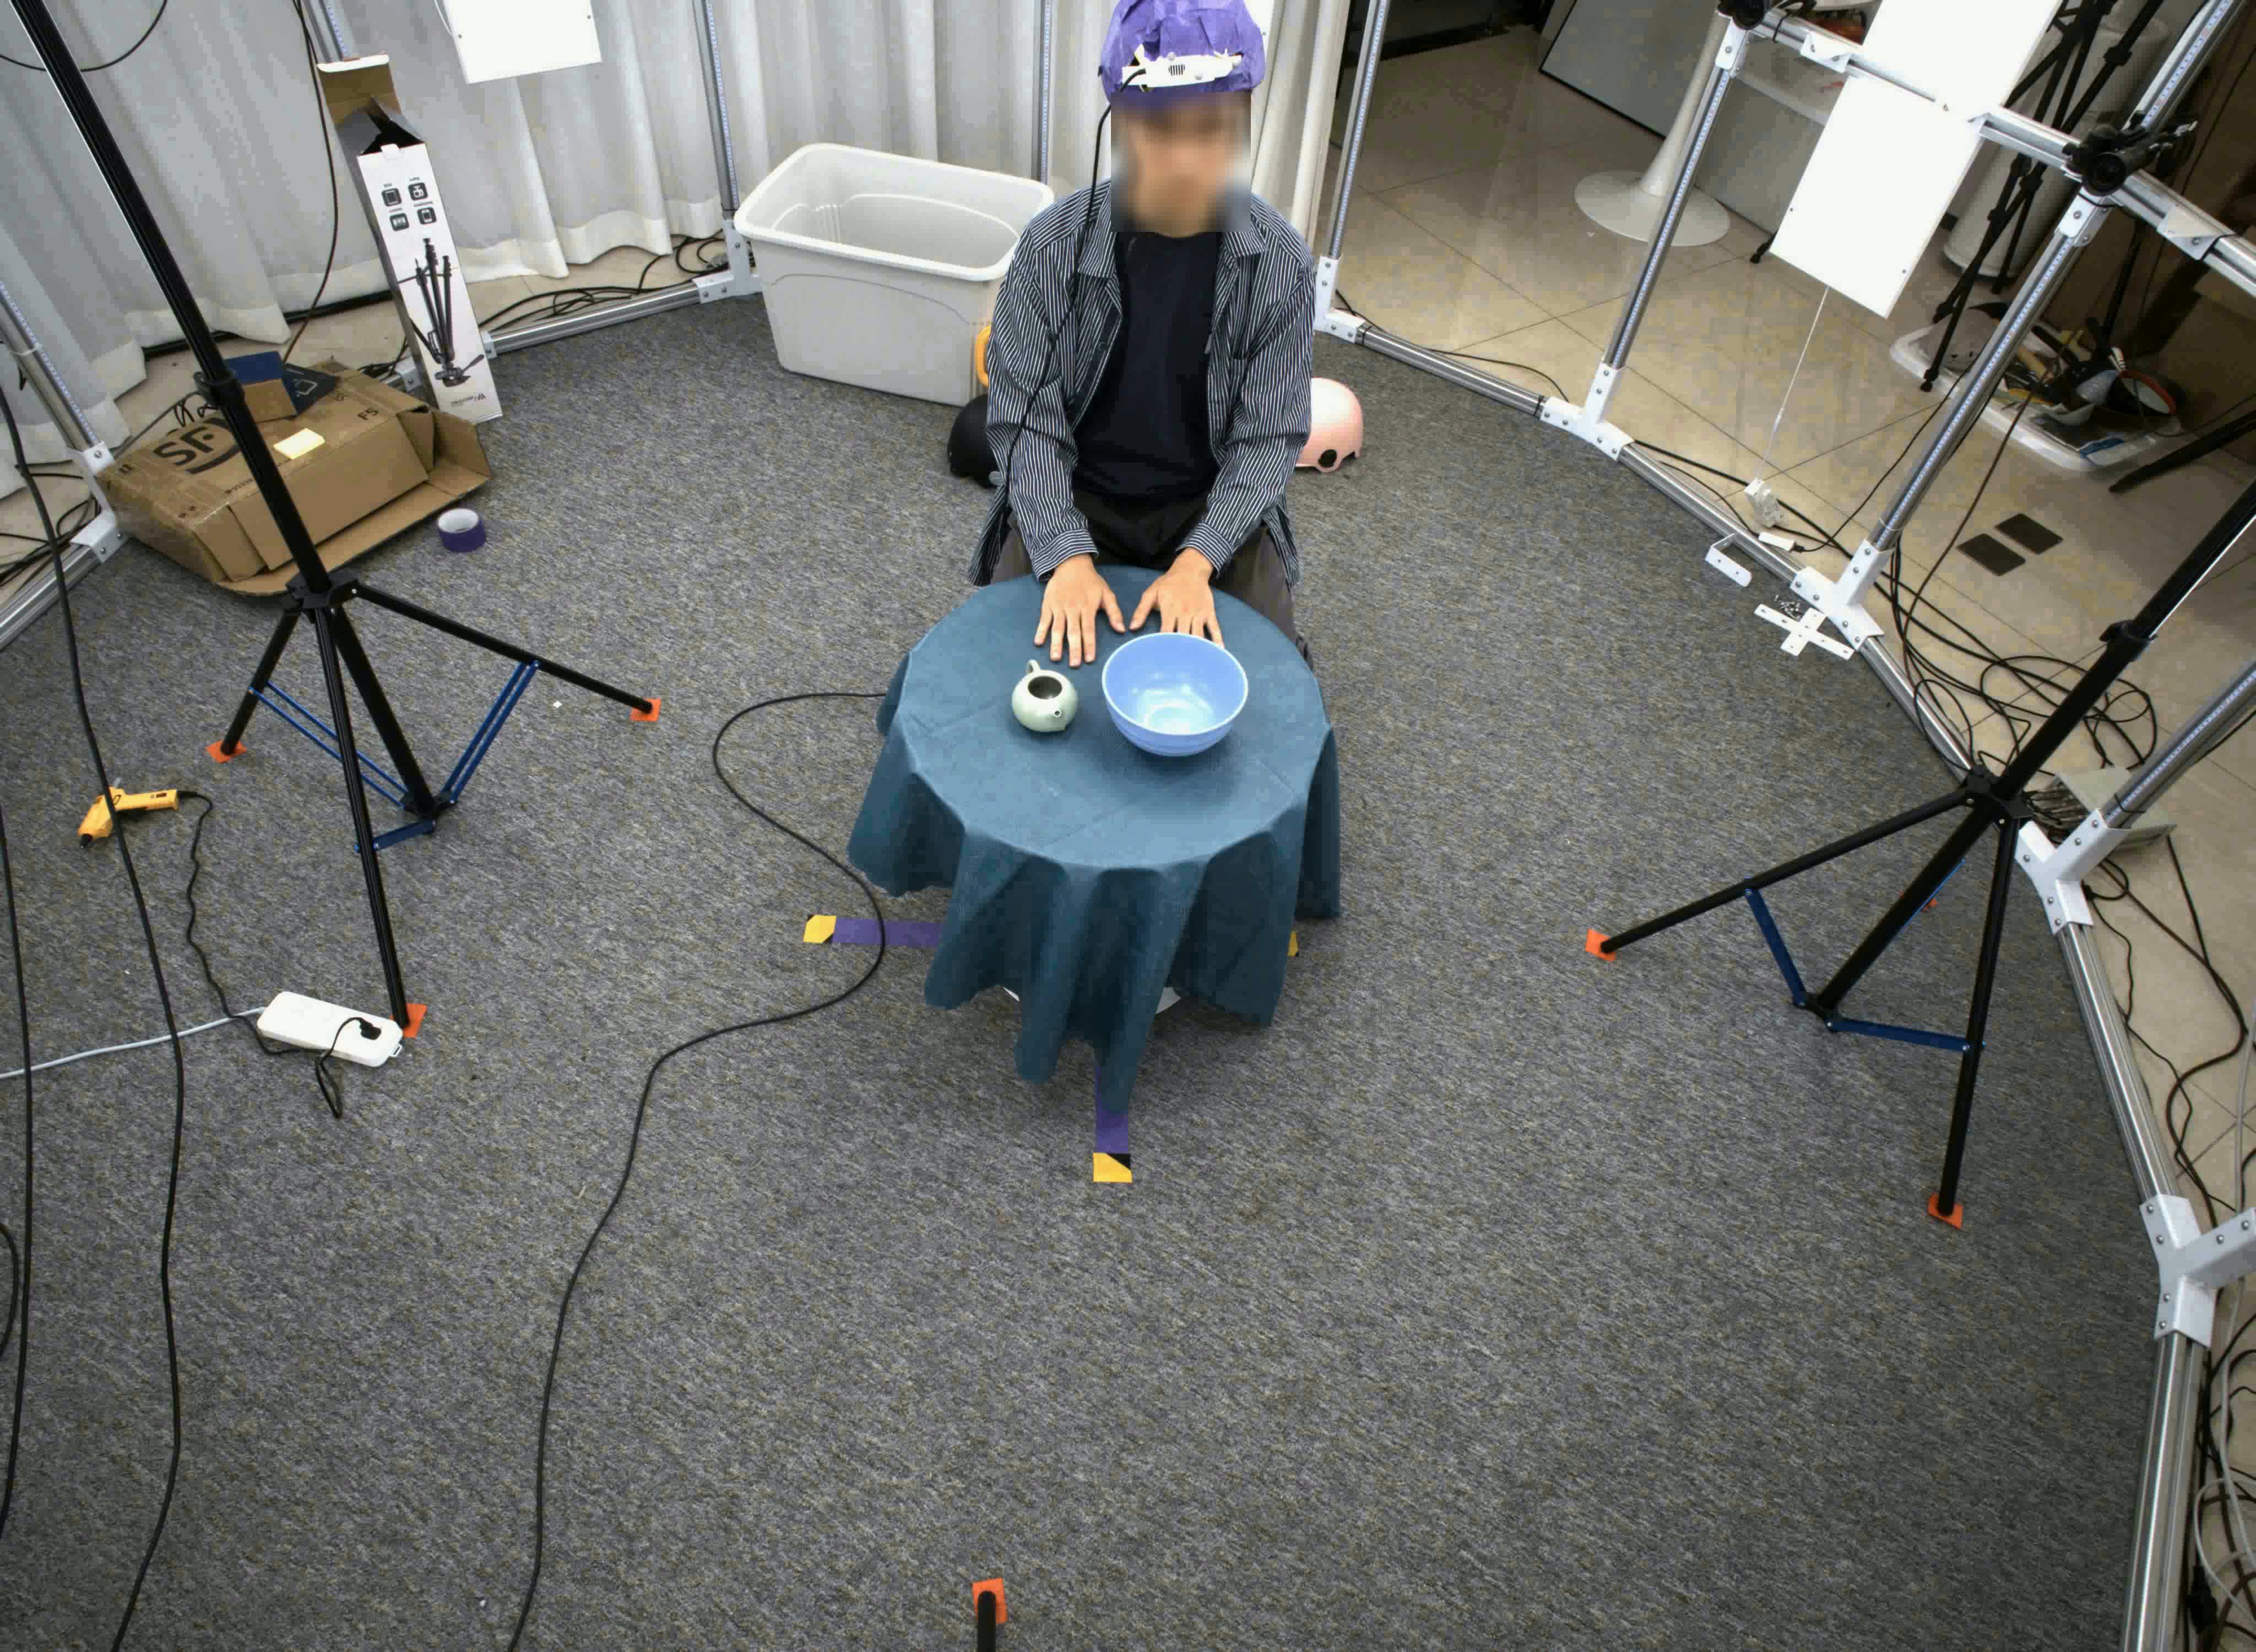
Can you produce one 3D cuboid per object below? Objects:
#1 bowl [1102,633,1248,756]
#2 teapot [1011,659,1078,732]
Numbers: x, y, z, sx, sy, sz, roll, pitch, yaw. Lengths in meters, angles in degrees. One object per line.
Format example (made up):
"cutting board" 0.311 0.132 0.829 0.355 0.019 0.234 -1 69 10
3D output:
"bowl" 0.061 -0.164 1.746 0.196 0.093 0.201 2 48 -2
"teapot" -0.117 -0.179 1.766 0.091 0.059 0.131 -11 50 -11
